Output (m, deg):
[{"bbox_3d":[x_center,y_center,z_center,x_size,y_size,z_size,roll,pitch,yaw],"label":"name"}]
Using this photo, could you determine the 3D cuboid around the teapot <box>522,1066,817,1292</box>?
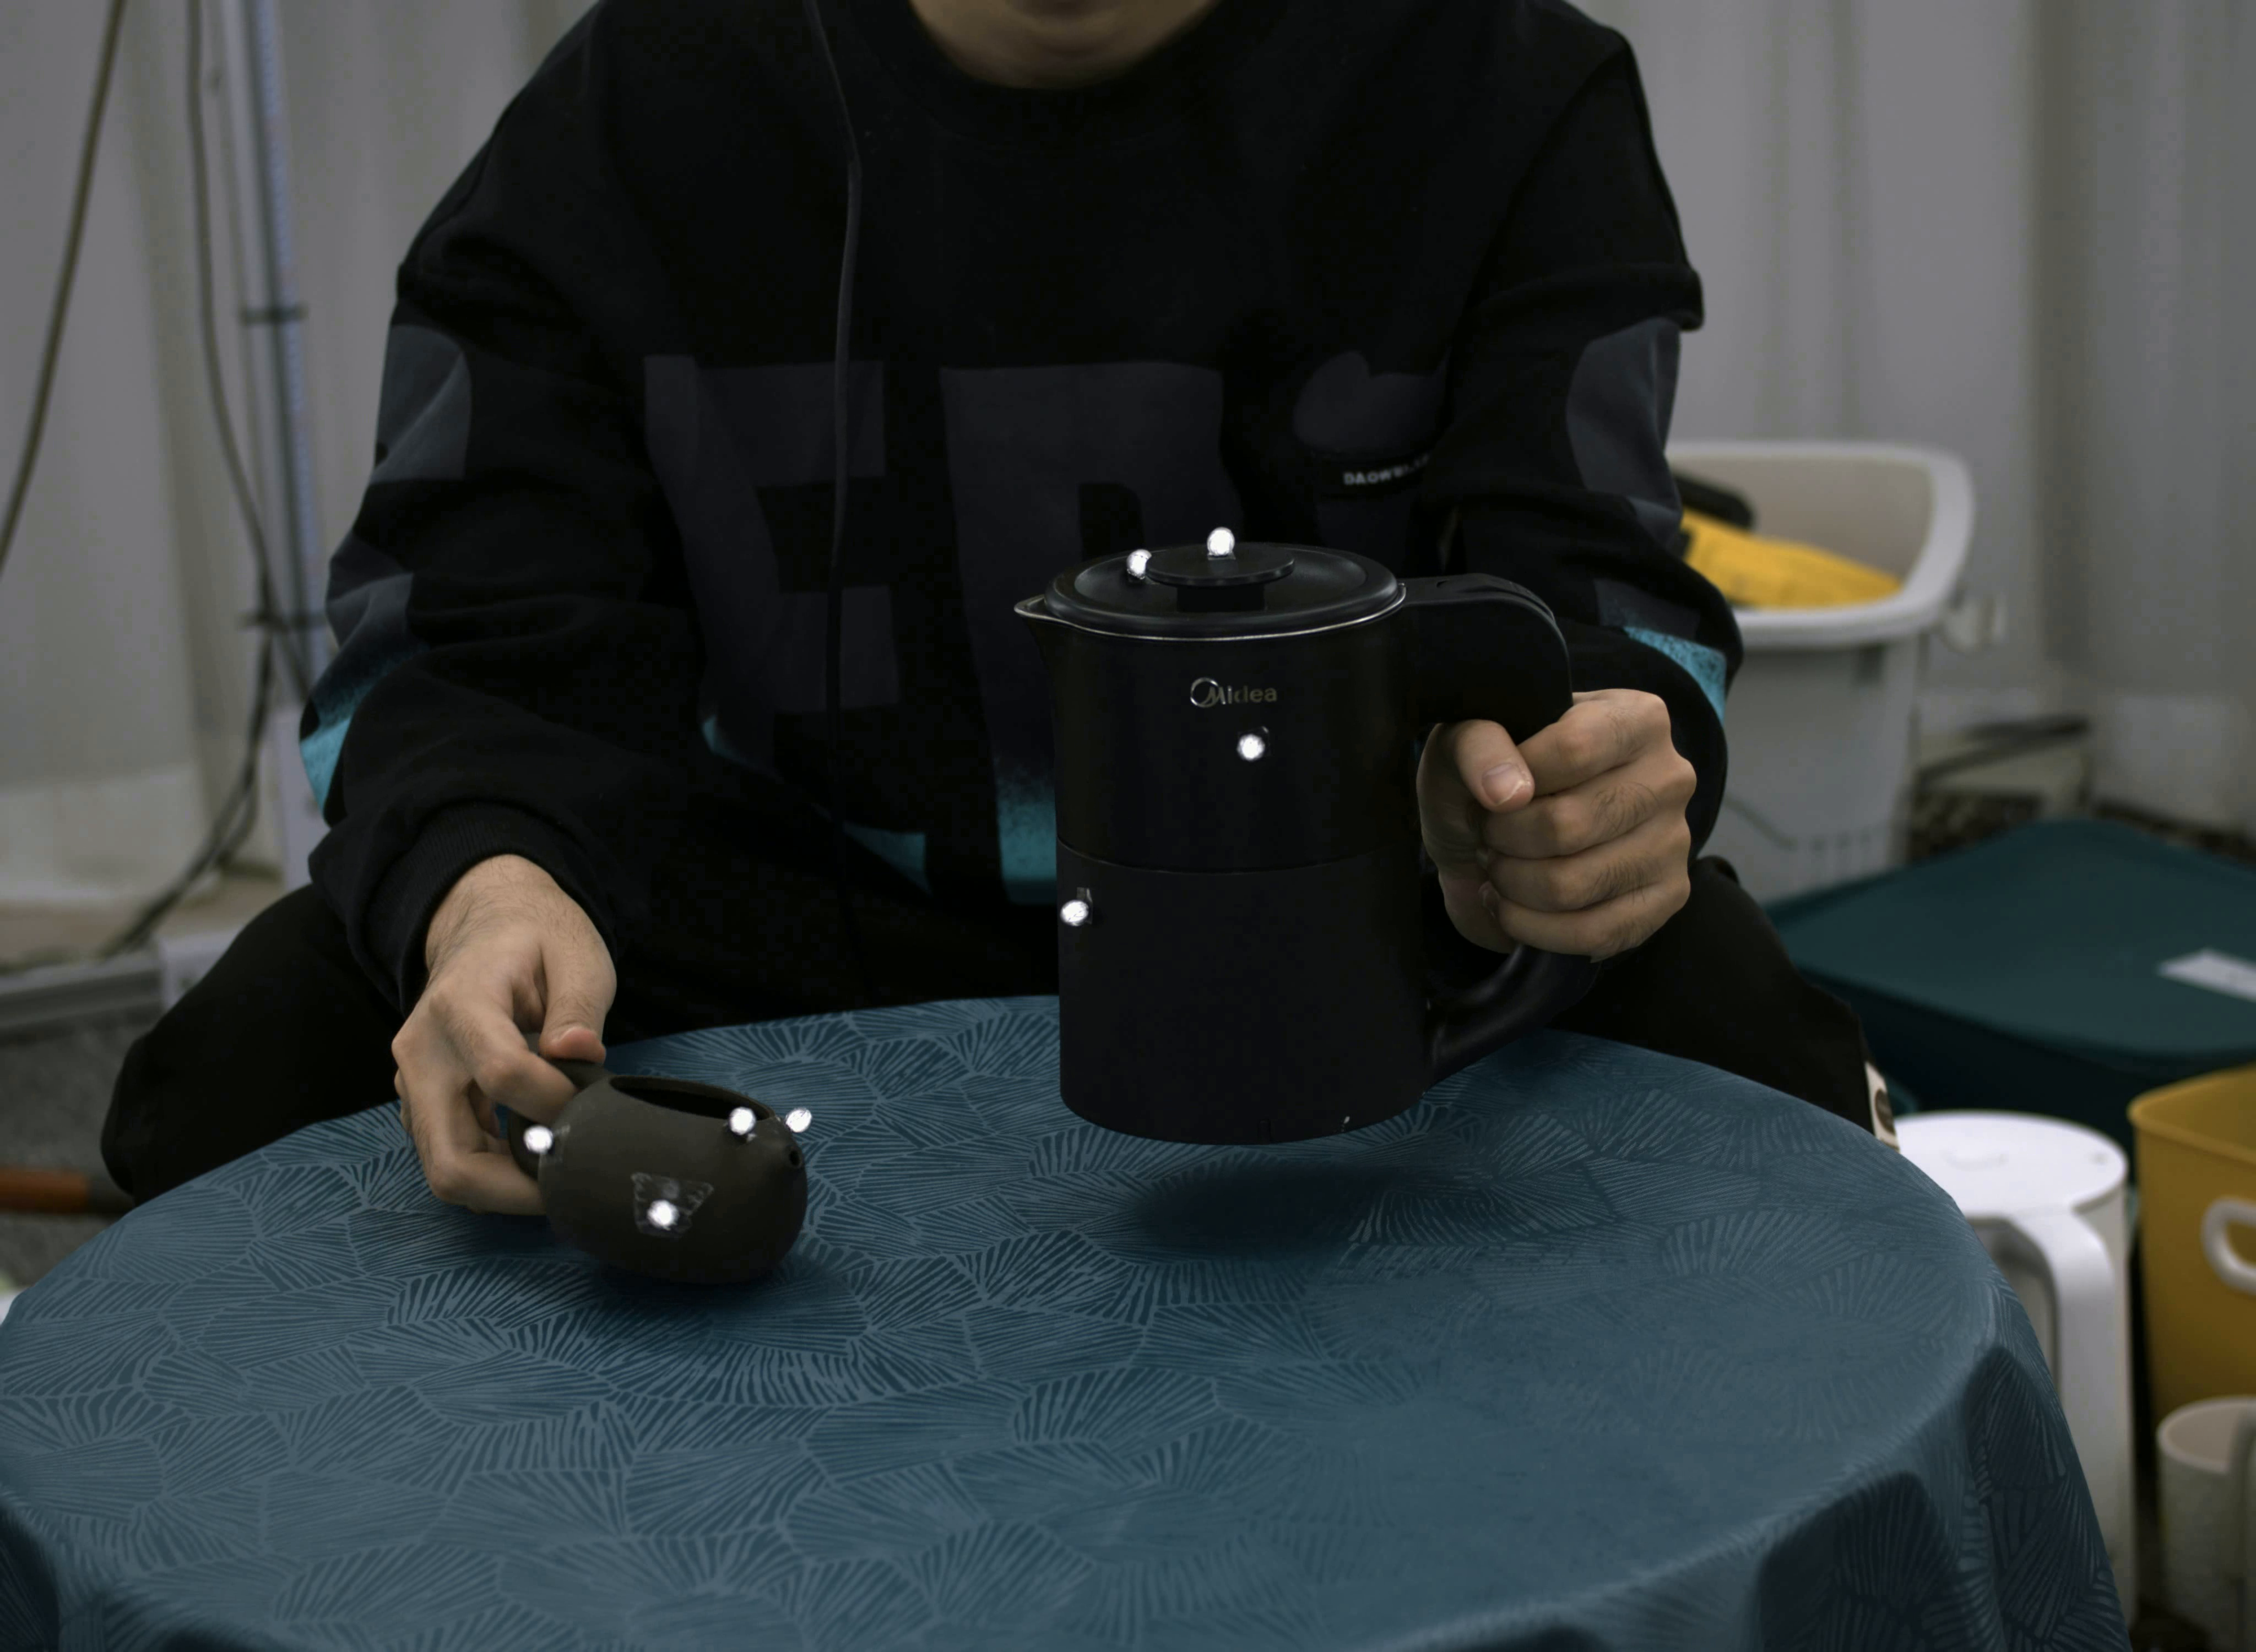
[{"bbox_3d":[-0.142,0.105,1.655,0.115,0.053,0.082,22,11,39],"label":"teapot"}]

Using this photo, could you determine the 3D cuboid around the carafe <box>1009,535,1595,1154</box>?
[{"bbox_3d":[0.054,-0.002,1.664,0.171,0.173,0.115,-6,13,-4],"label":"carafe"}]
